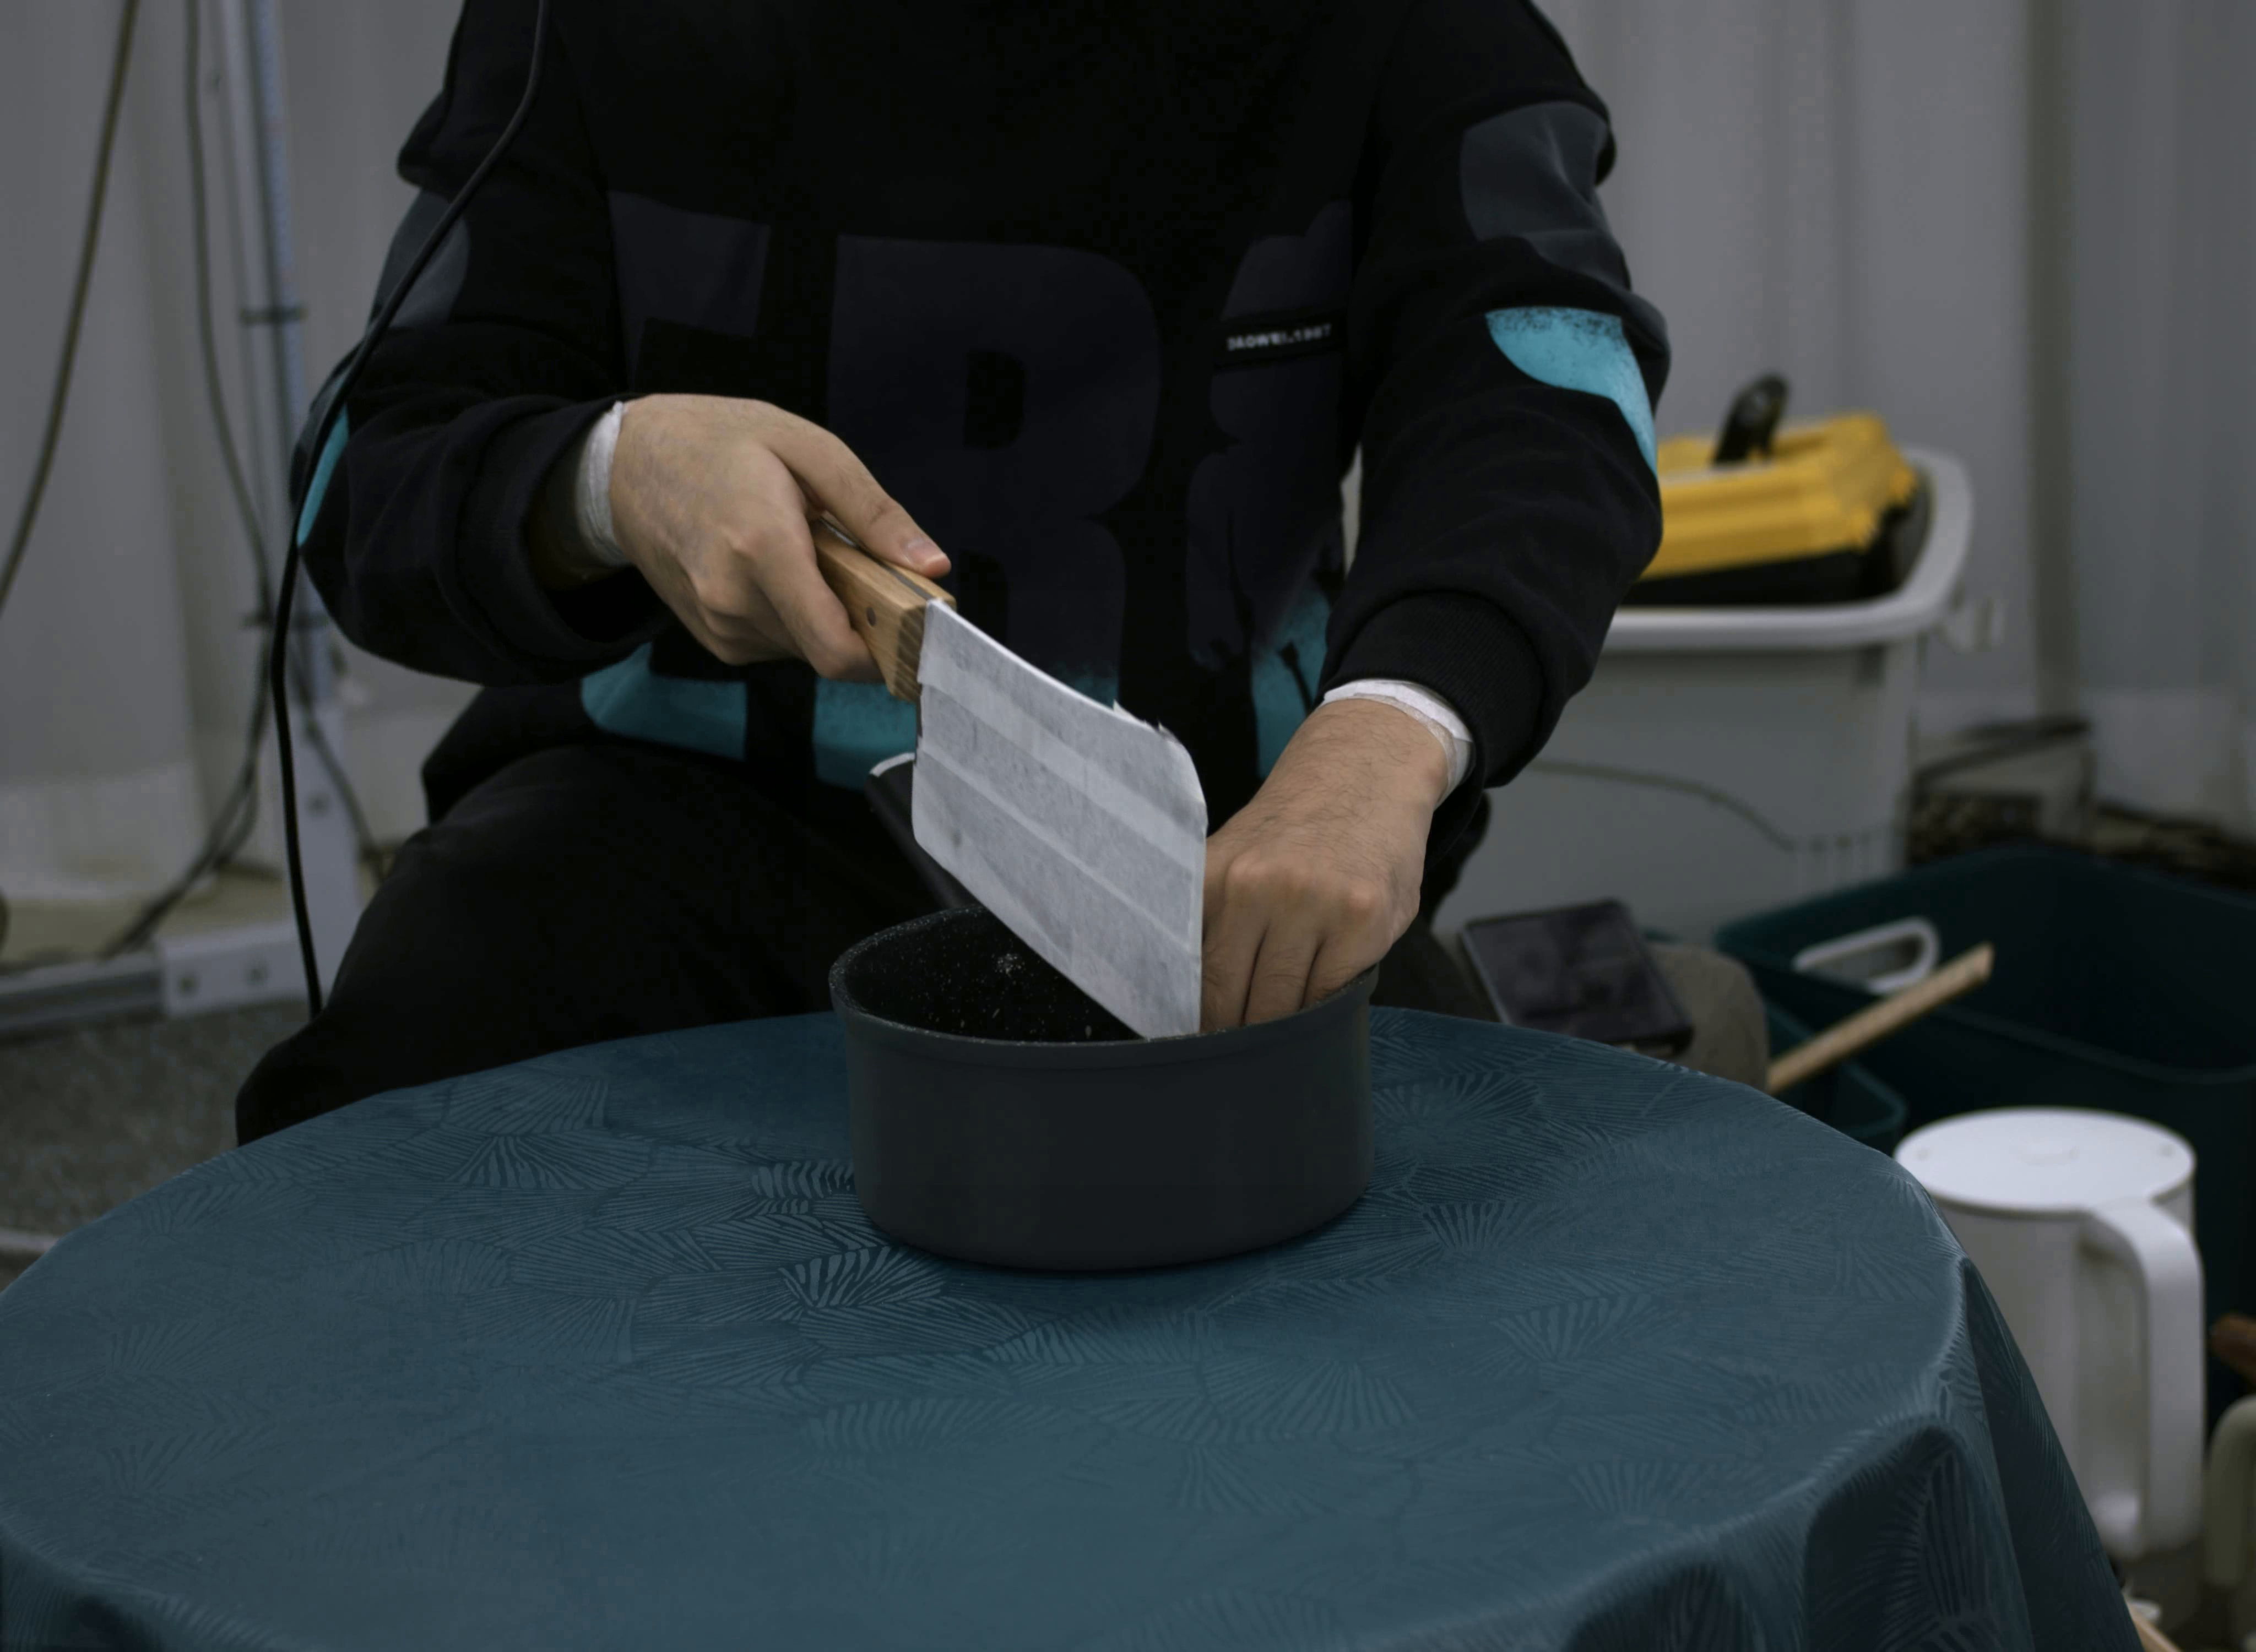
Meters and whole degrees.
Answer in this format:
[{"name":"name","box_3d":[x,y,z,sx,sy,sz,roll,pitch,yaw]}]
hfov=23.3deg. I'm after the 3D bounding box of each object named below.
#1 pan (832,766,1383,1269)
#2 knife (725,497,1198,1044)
[{"name":"pan","box_3d":[-0.025,0.056,1.777,0.171,0.086,0.331,-4,15,-13]},{"name":"knife","box_3d":[-0.053,-0.035,1.734,0.021,0.113,0.319,-9,29,-28]}]
